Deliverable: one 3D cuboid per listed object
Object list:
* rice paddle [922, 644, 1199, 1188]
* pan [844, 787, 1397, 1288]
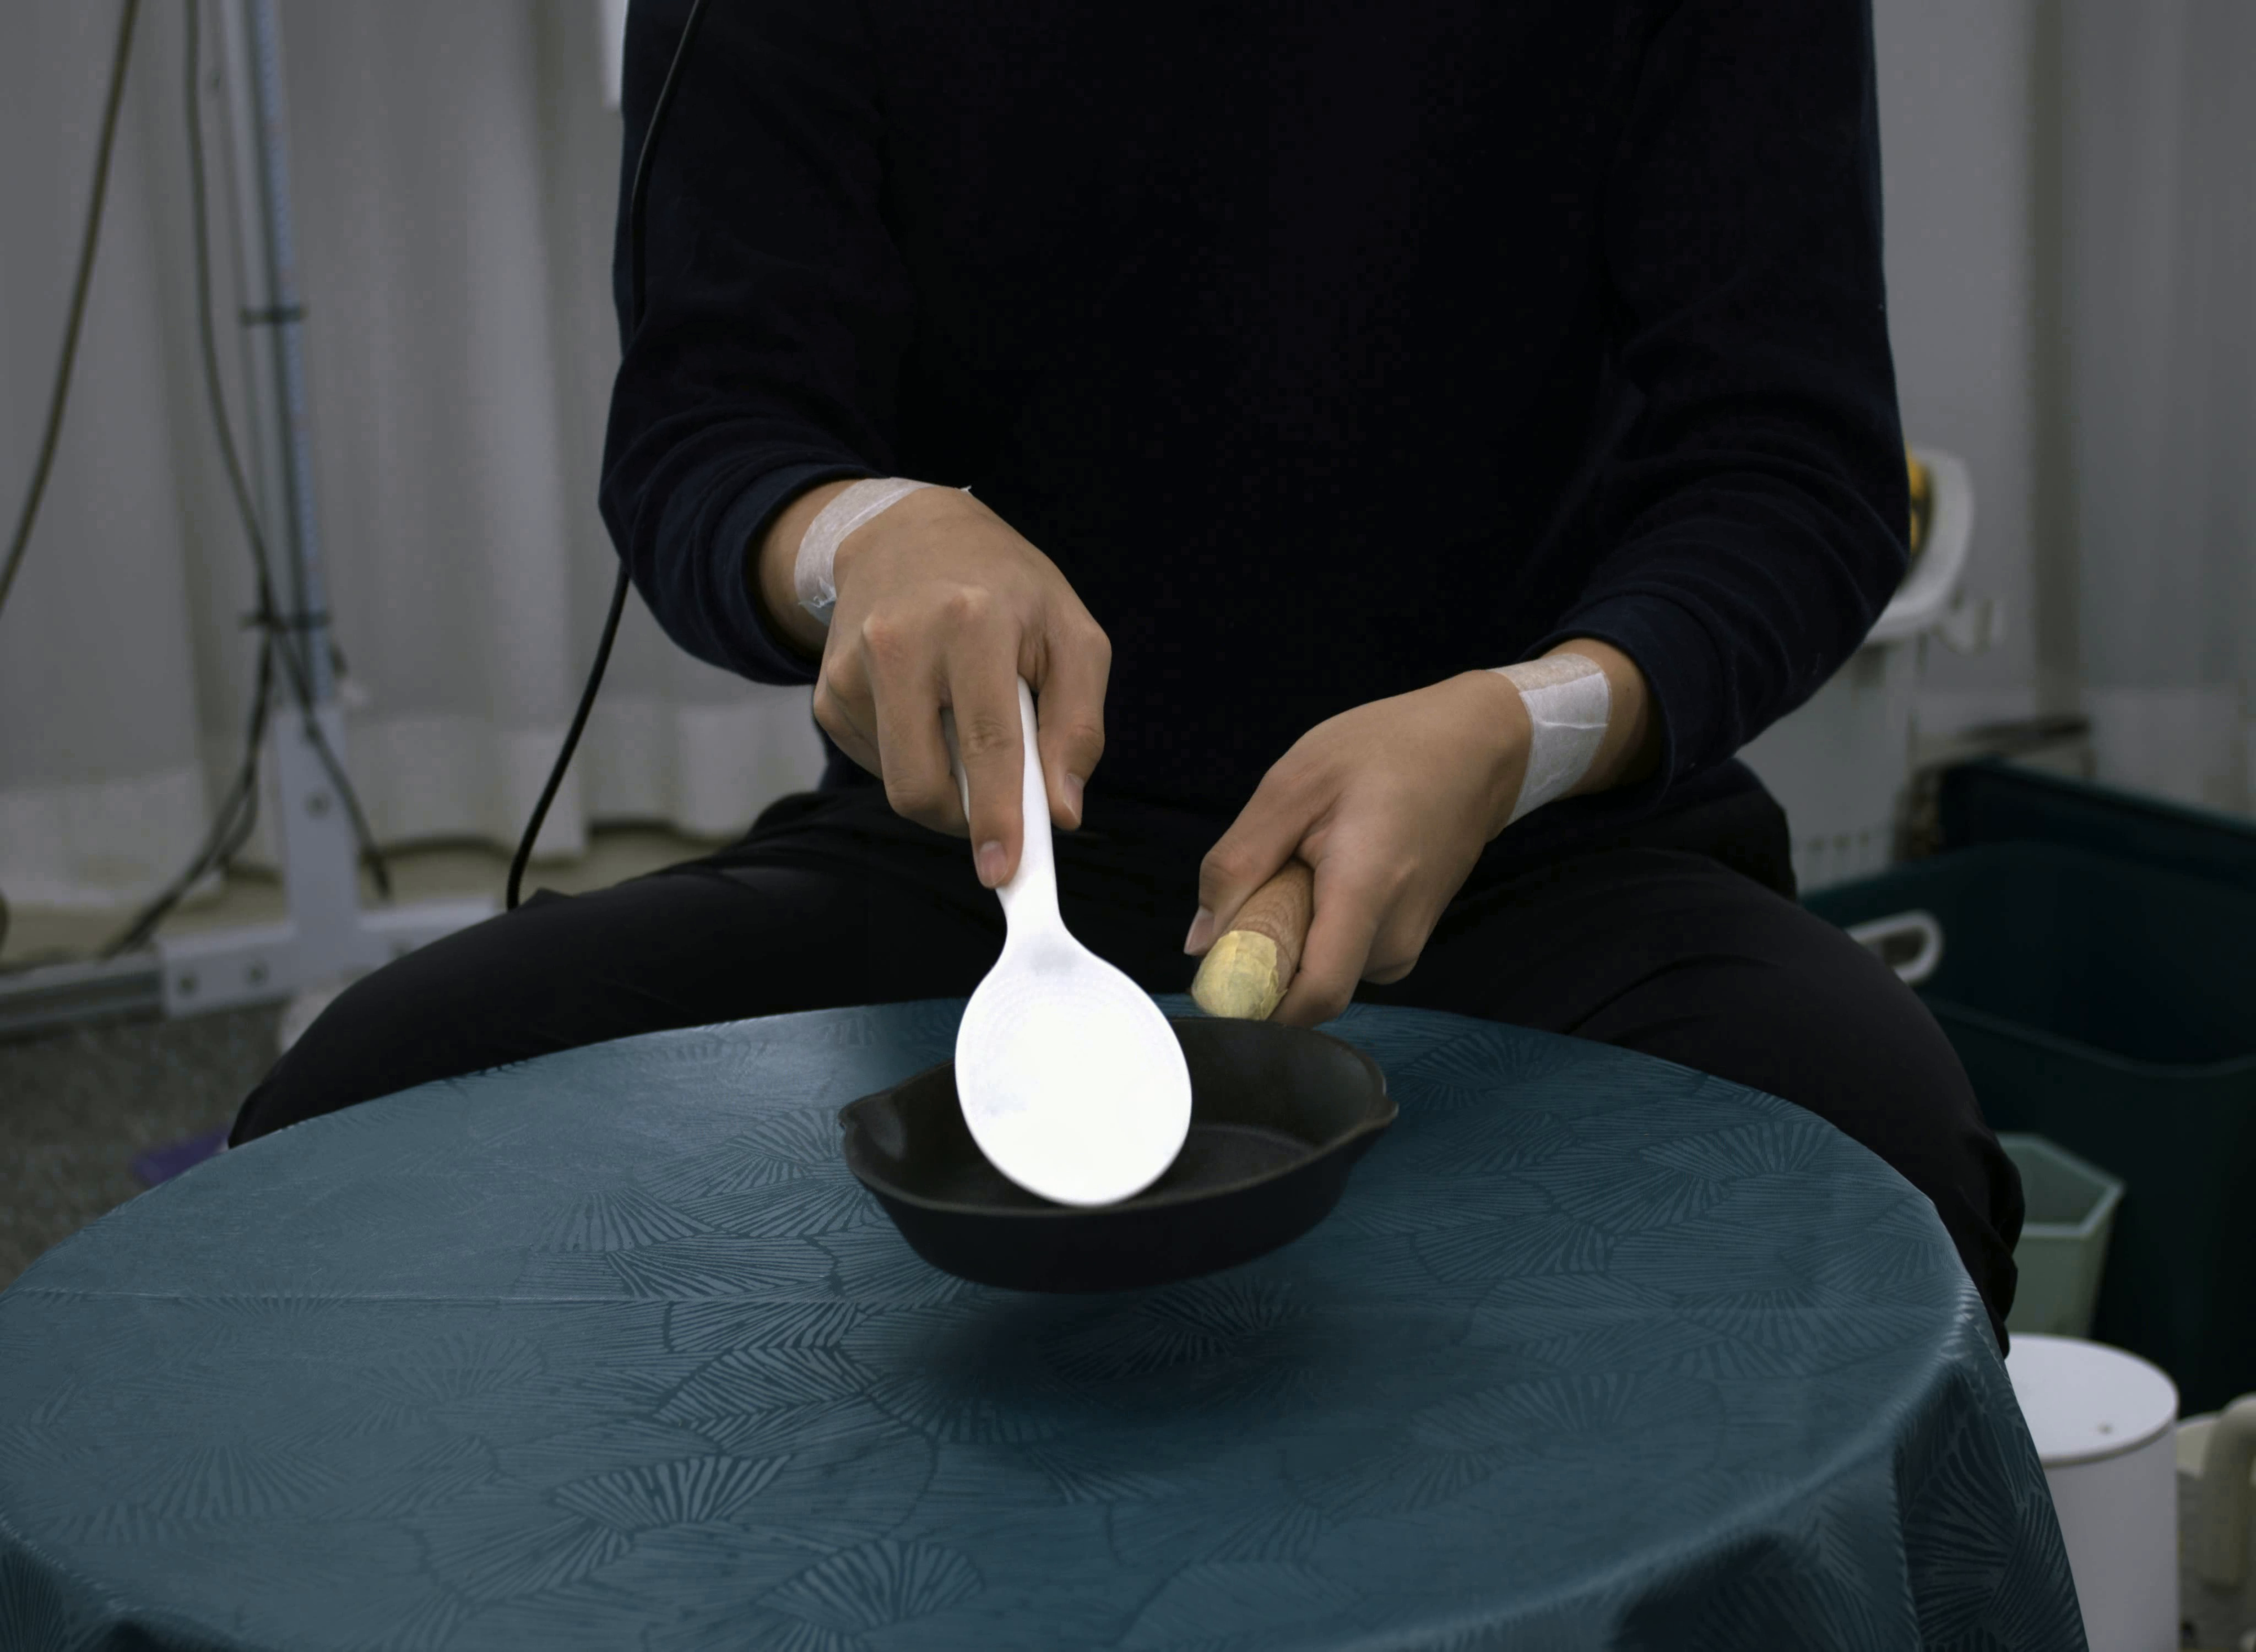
[{"bbox_3d":[-0.027,0.028,1.648,0.068,0.029,0.208,-9,49,-9],"label":"rice paddle"},{"bbox_3d":[0.026,0.061,1.651,0.169,0.049,0.326,-1,19,22],"label":"pan"}]
